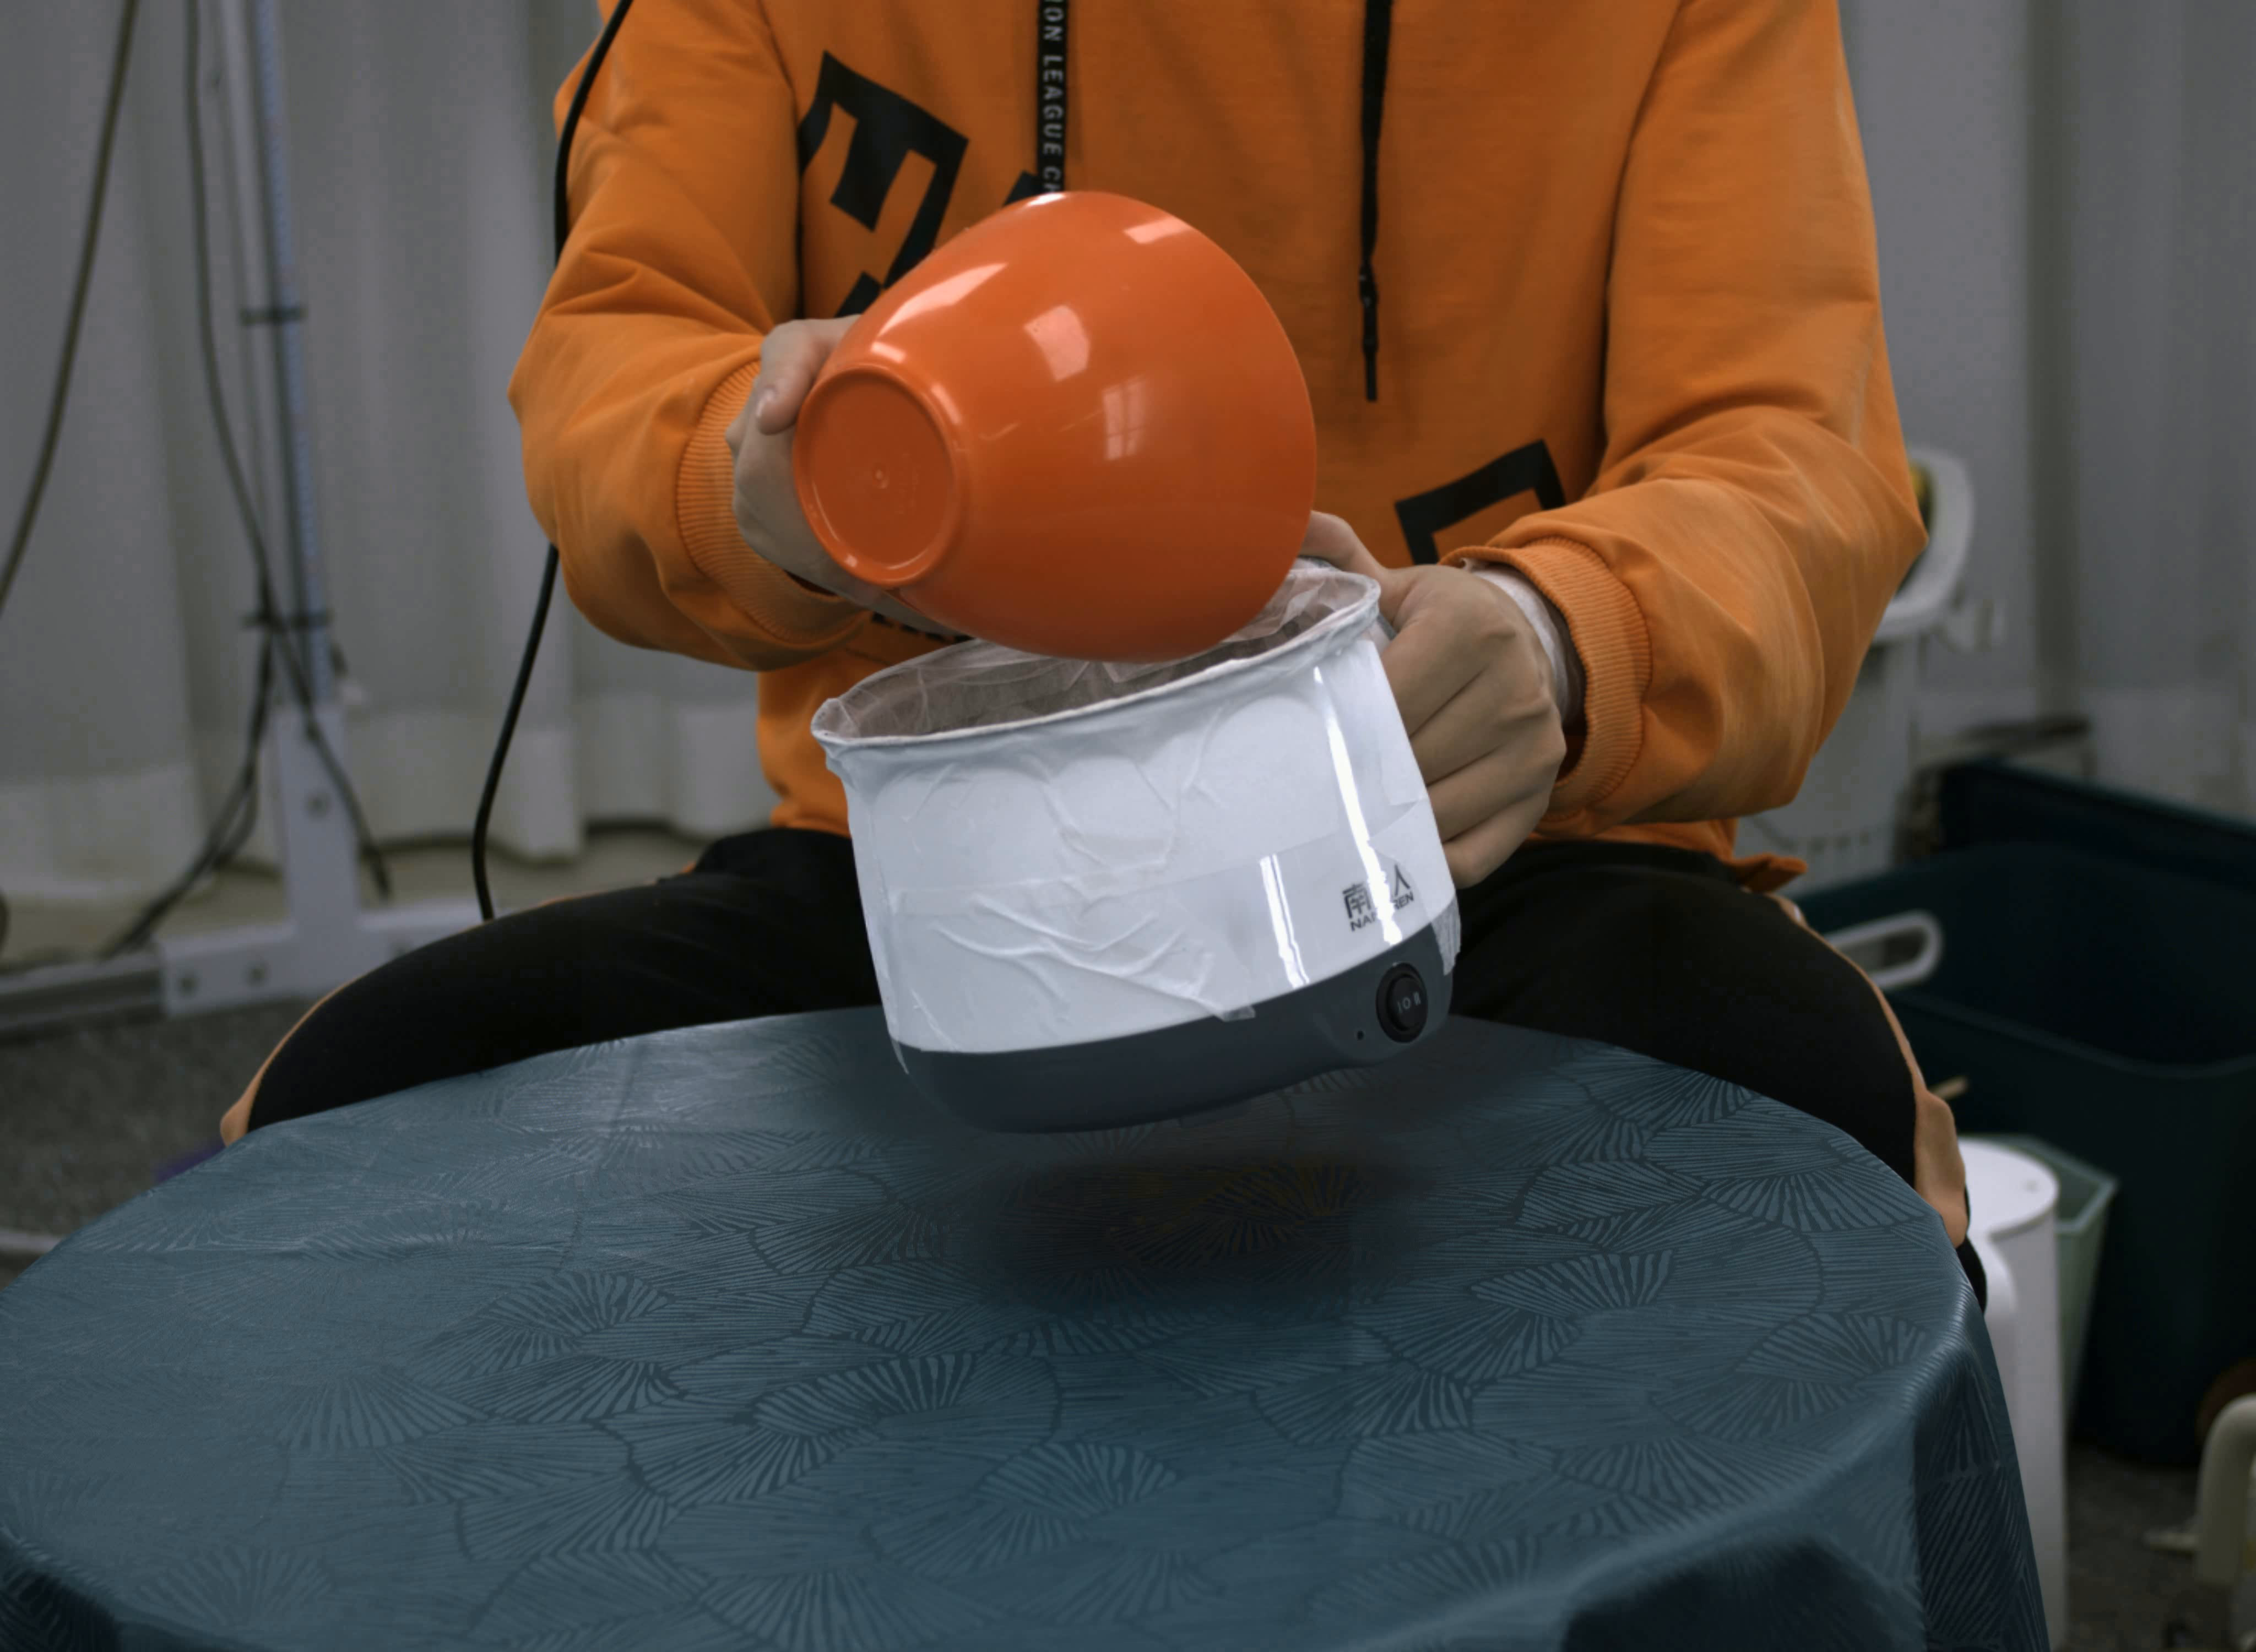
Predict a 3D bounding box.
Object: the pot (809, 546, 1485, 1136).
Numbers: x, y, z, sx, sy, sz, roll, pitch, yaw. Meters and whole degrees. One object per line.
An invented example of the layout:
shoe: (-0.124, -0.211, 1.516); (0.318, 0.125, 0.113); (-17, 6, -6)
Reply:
pot: (0.022, 0.000, 1.671); (0.179, 0.136, 0.234); (-4, 15, 41)

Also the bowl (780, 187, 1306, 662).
bowl: (-0.037, -0.112, 1.636); (0.148, 0.147, 0.104); (9, 19, 38)
